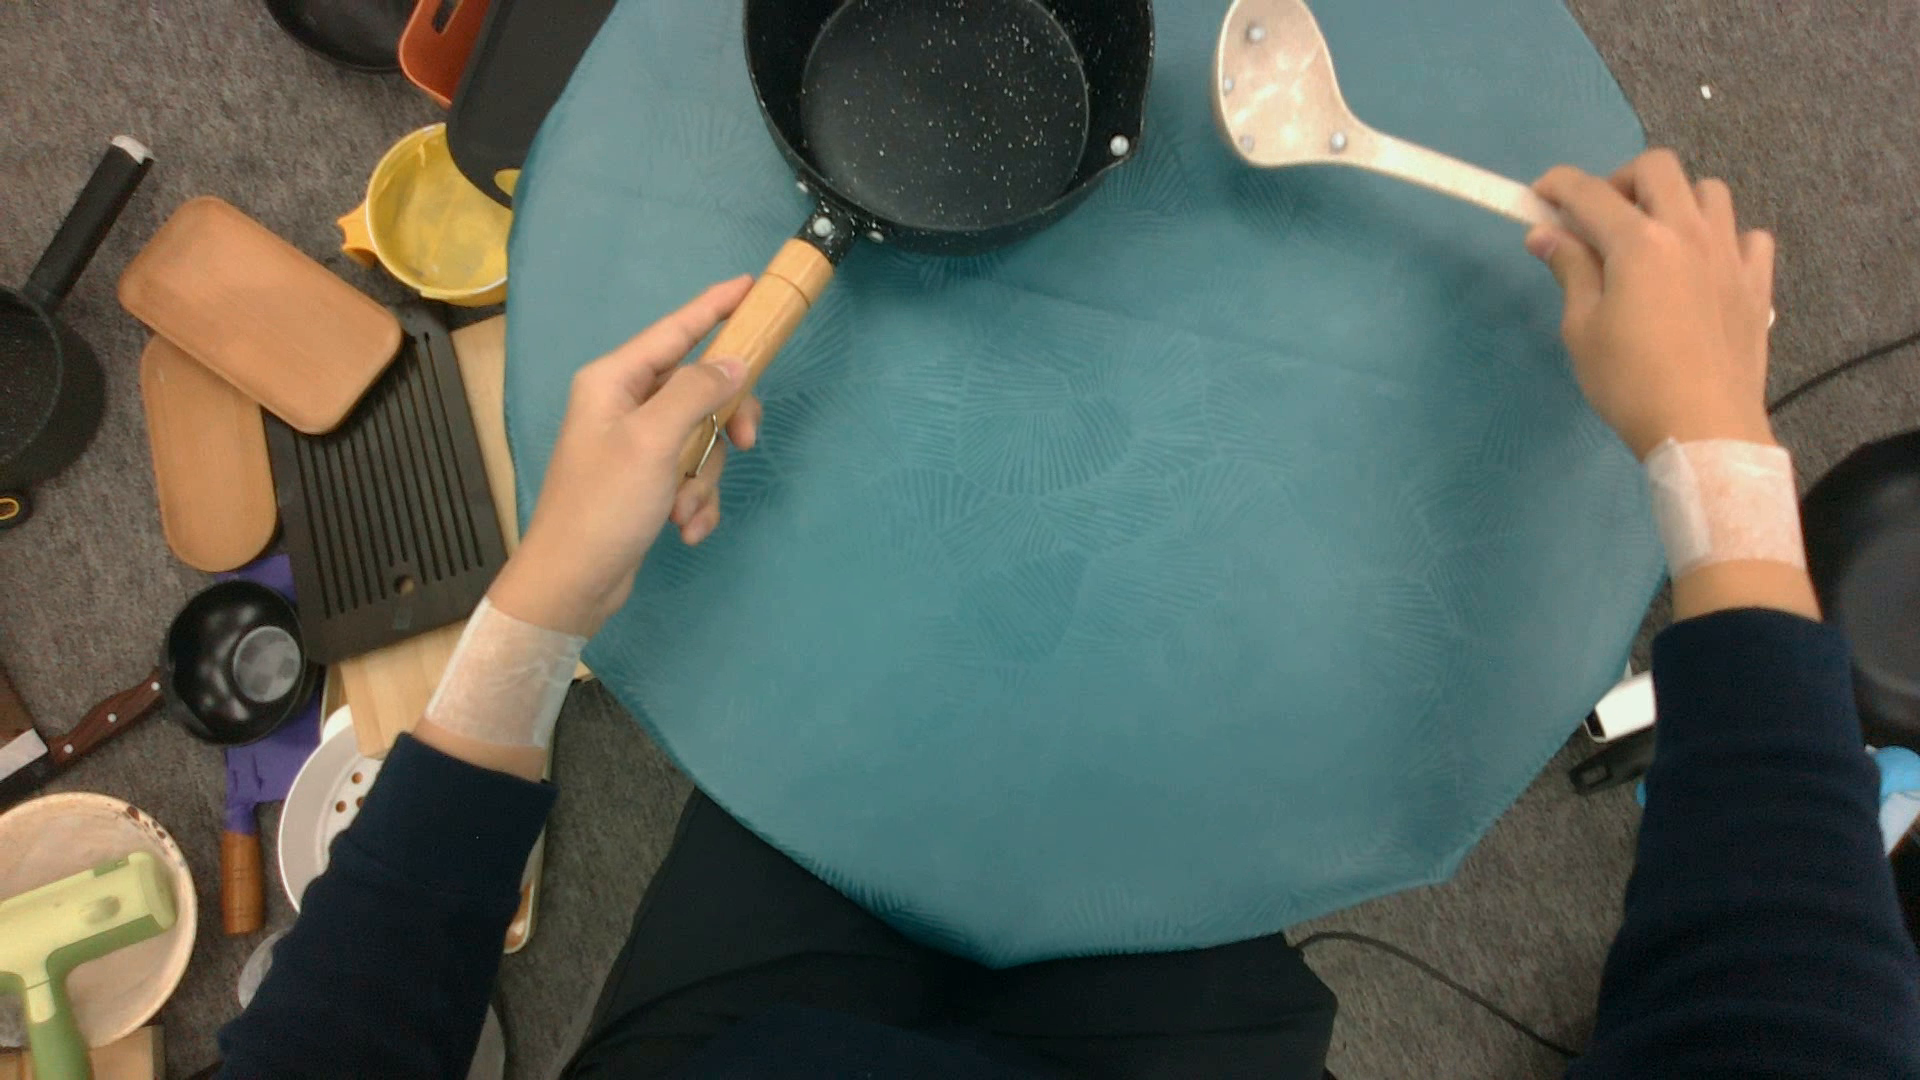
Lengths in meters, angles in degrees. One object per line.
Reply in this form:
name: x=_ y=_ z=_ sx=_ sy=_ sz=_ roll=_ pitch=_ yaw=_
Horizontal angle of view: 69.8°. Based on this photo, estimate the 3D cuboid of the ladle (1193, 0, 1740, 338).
ladle: x=0.236 y=-0.172 z=0.633 sx=0.275 sy=0.069 sz=0.090 roll=27 pitch=60 yaw=15

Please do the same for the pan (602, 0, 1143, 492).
pan: x=-0.051 y=-0.160 z=0.639 sx=0.207 sy=0.108 sz=0.343 roll=31 pitch=81 yaw=0
